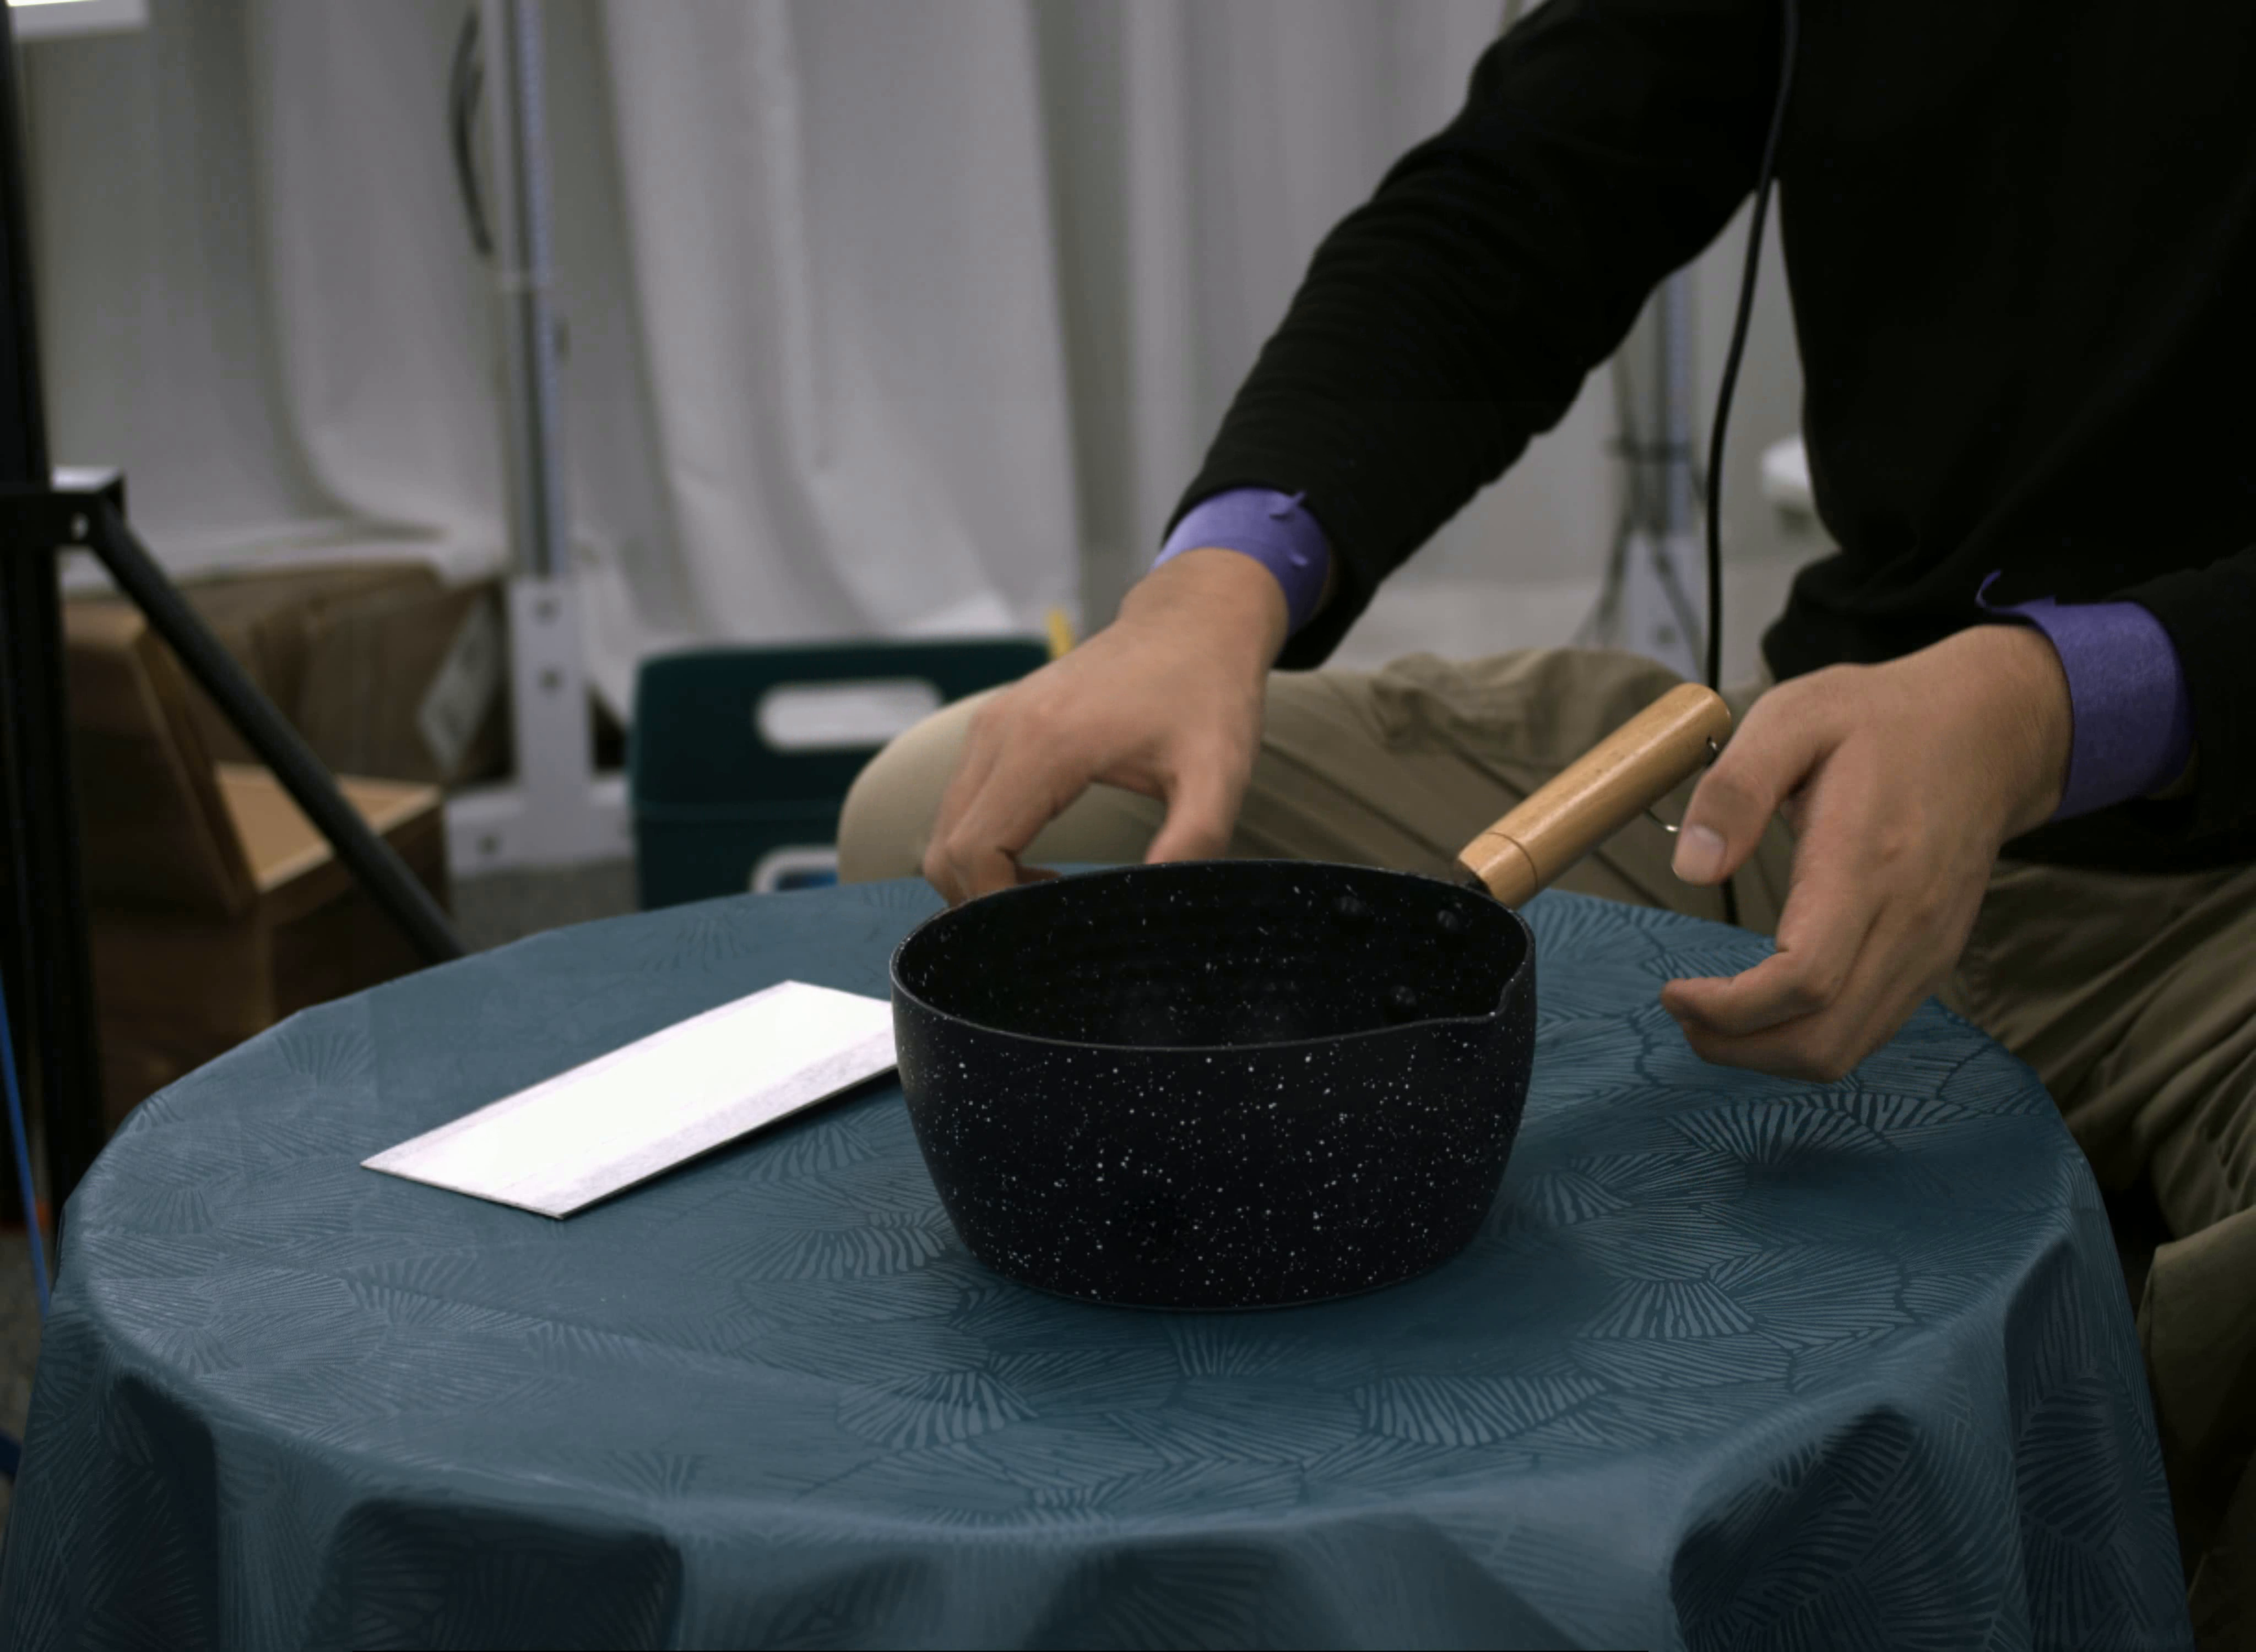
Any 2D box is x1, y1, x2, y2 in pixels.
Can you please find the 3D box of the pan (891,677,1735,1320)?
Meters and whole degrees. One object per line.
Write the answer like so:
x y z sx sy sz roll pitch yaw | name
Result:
0.075 0.046 1.568 0.212 0.108 0.335 10 21 39 | pan

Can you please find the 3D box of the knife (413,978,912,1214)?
-0.101 0.068 1.686 0.095 0.021 0.299 10 22 40 | knife
